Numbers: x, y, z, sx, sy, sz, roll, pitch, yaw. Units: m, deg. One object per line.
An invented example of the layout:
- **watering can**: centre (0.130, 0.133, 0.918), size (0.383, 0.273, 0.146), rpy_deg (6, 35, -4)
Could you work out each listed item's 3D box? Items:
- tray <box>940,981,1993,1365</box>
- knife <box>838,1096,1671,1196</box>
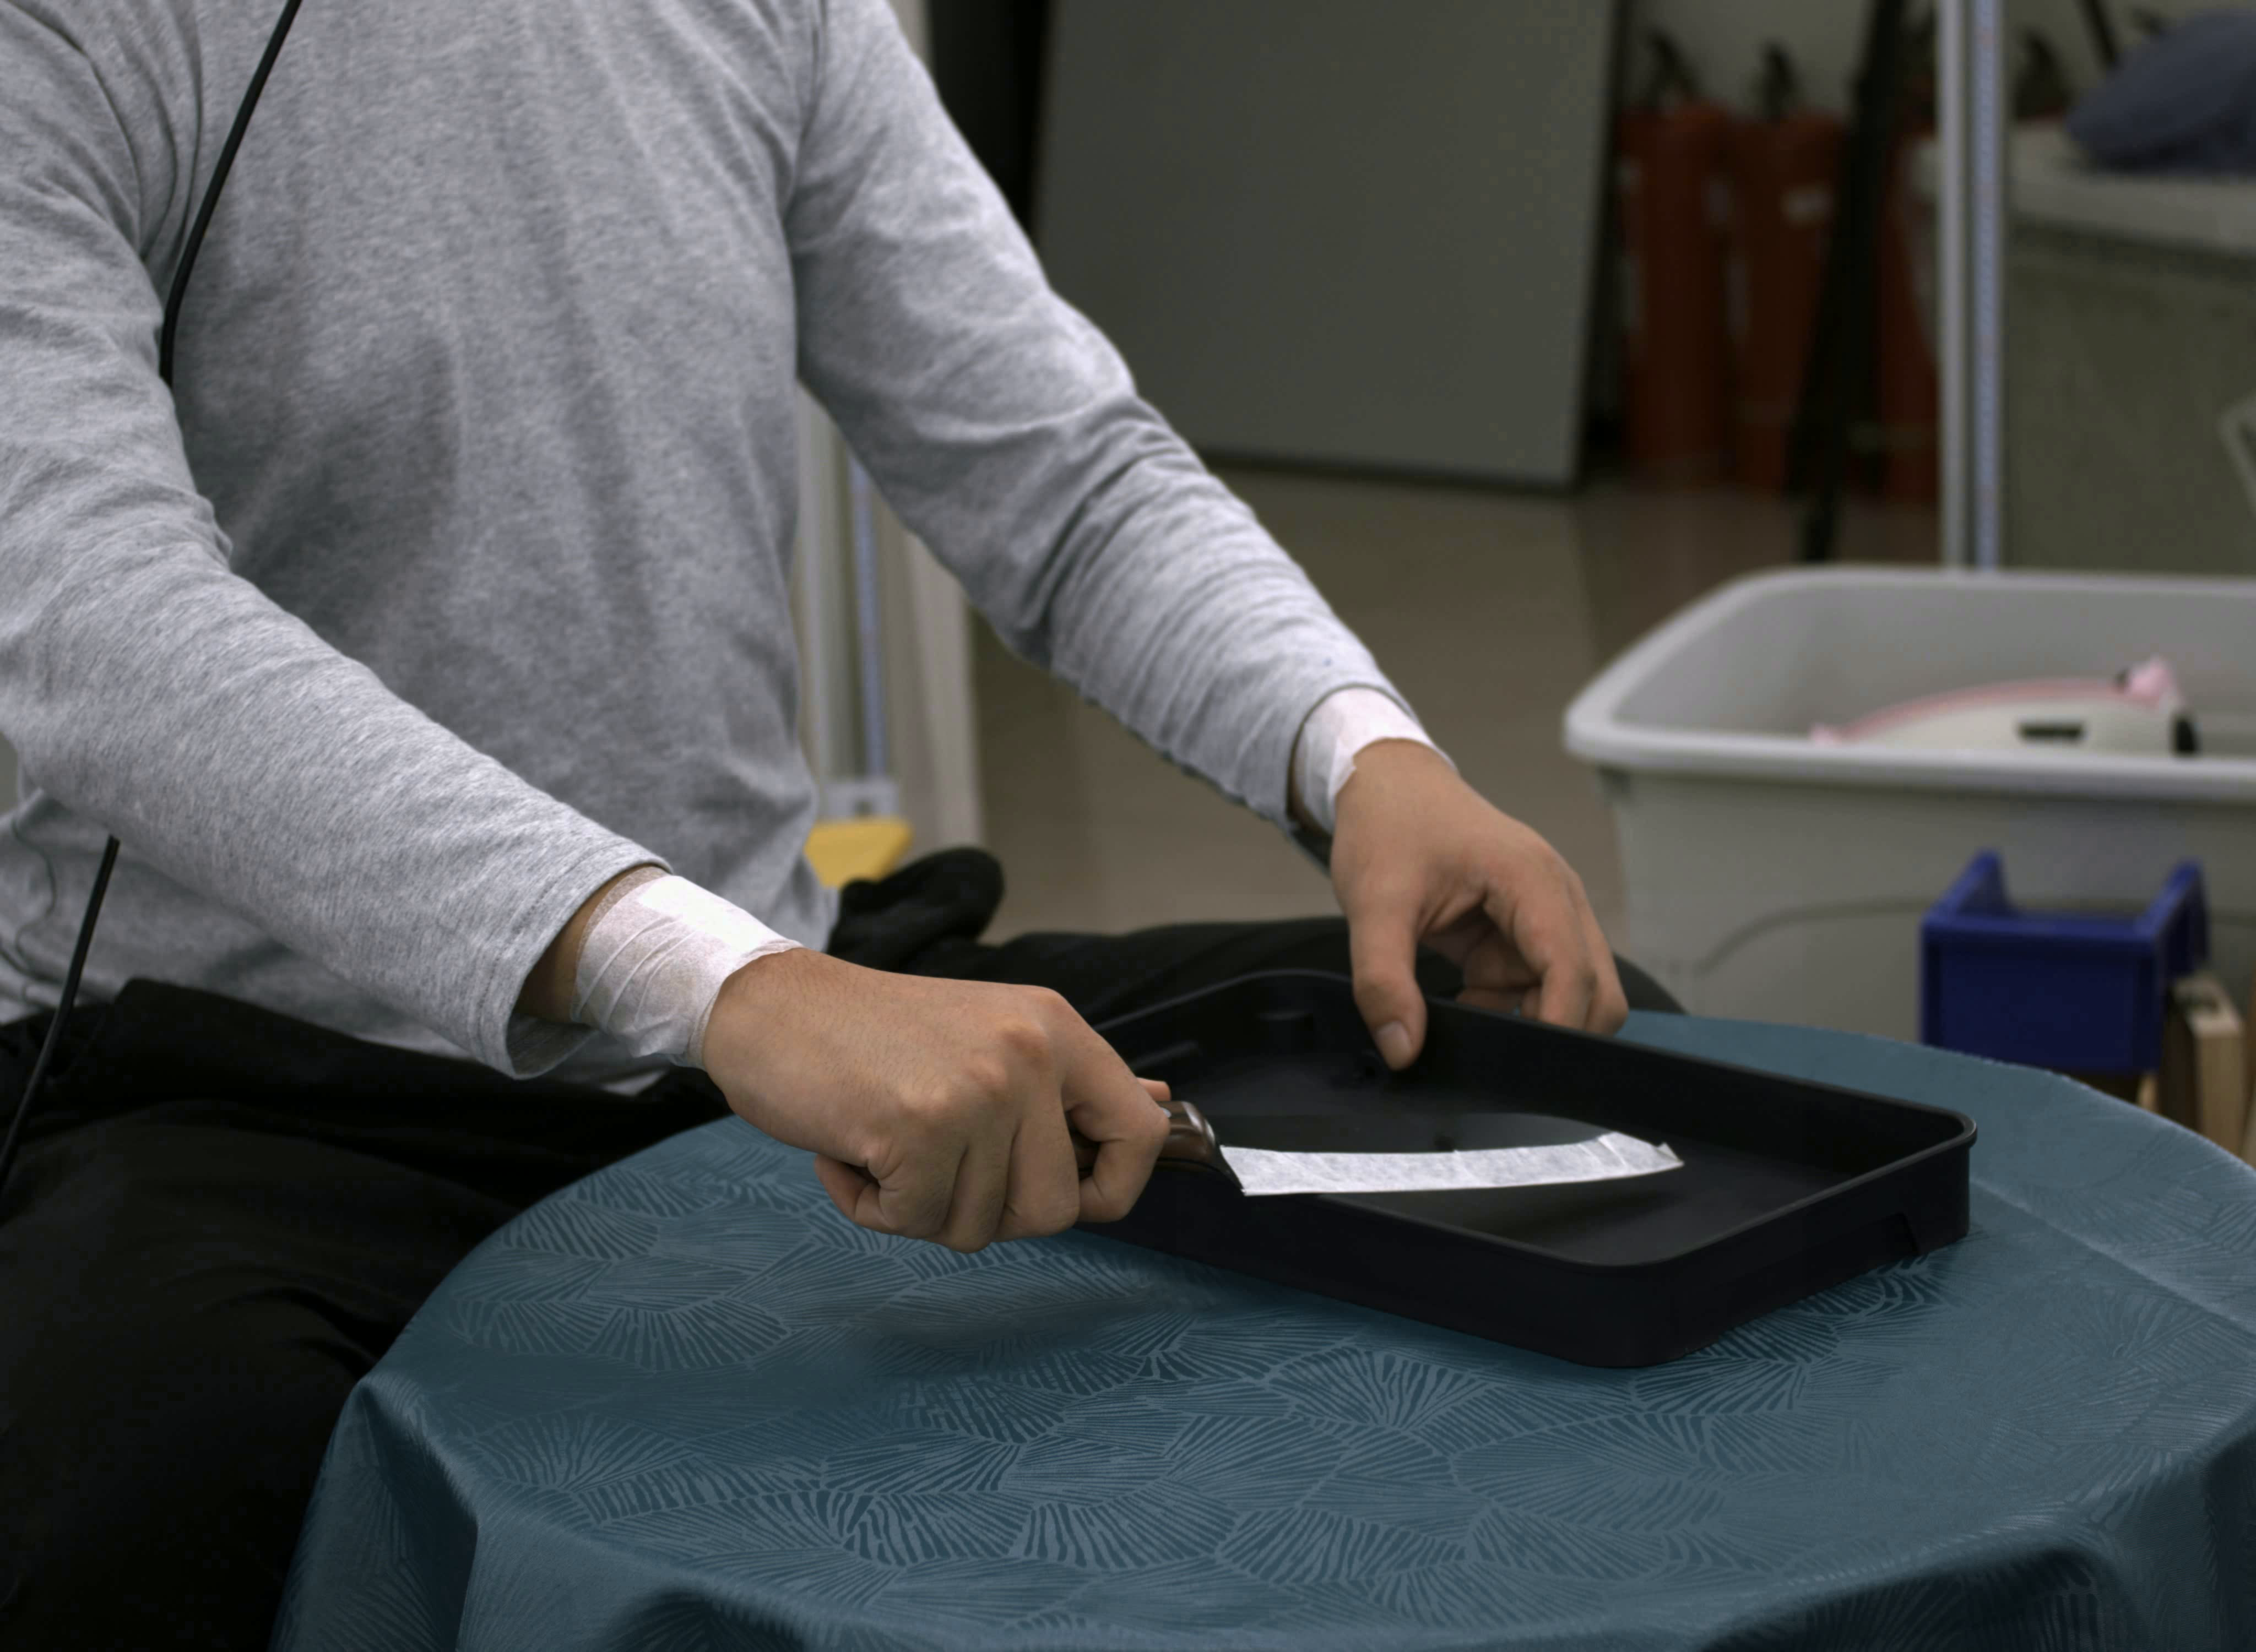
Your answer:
- **tray**: centre (0.105, 0.107, 1.727), size (0.321, 0.037, 0.180), rpy_deg (9, 19, 44)
- **knife**: centre (0.045, 0.100, 1.669), size (0.282, 0.020, 0.051), rpy_deg (2, 30, -24)
